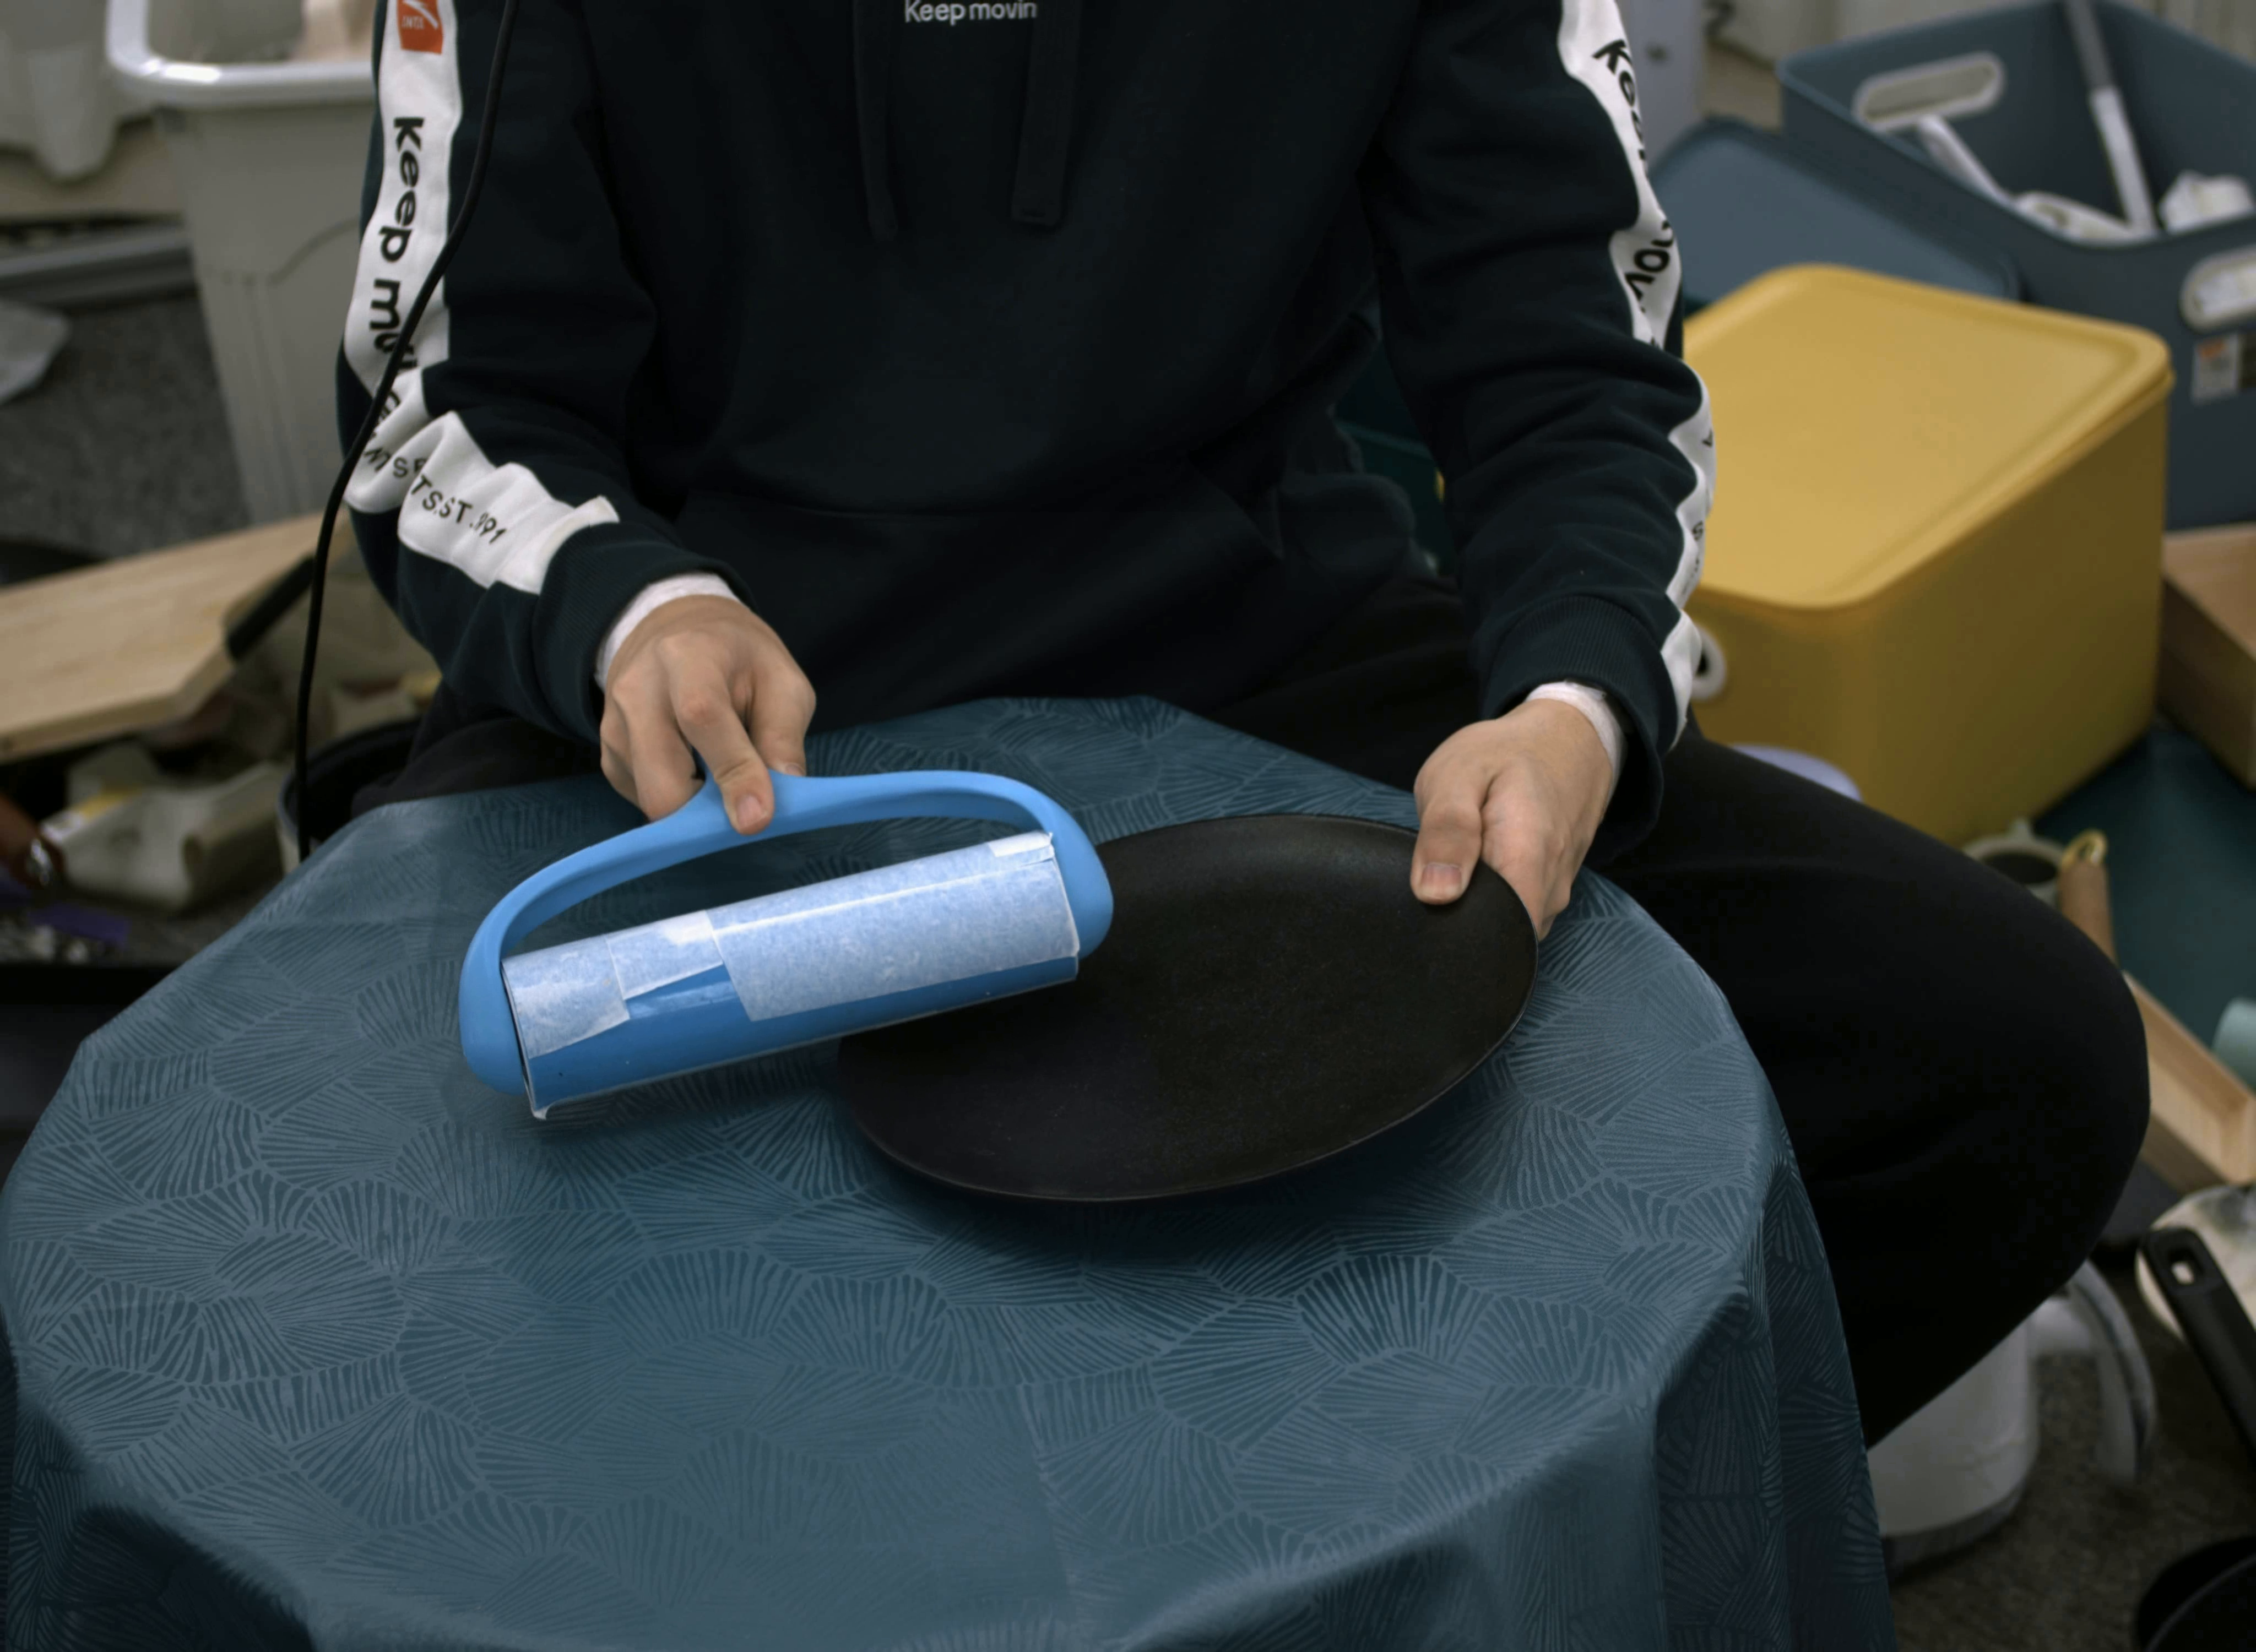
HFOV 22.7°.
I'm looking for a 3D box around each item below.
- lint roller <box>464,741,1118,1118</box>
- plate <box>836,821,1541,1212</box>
[{"bbox_3d":[-0.133,0.013,1.962,0.229,0.067,0.182,-16,42,-12],"label":"lint roller"},{"bbox_3d":[0.022,0.069,1.910,0.243,0.023,0.248,-9,28,5],"label":"plate"}]
